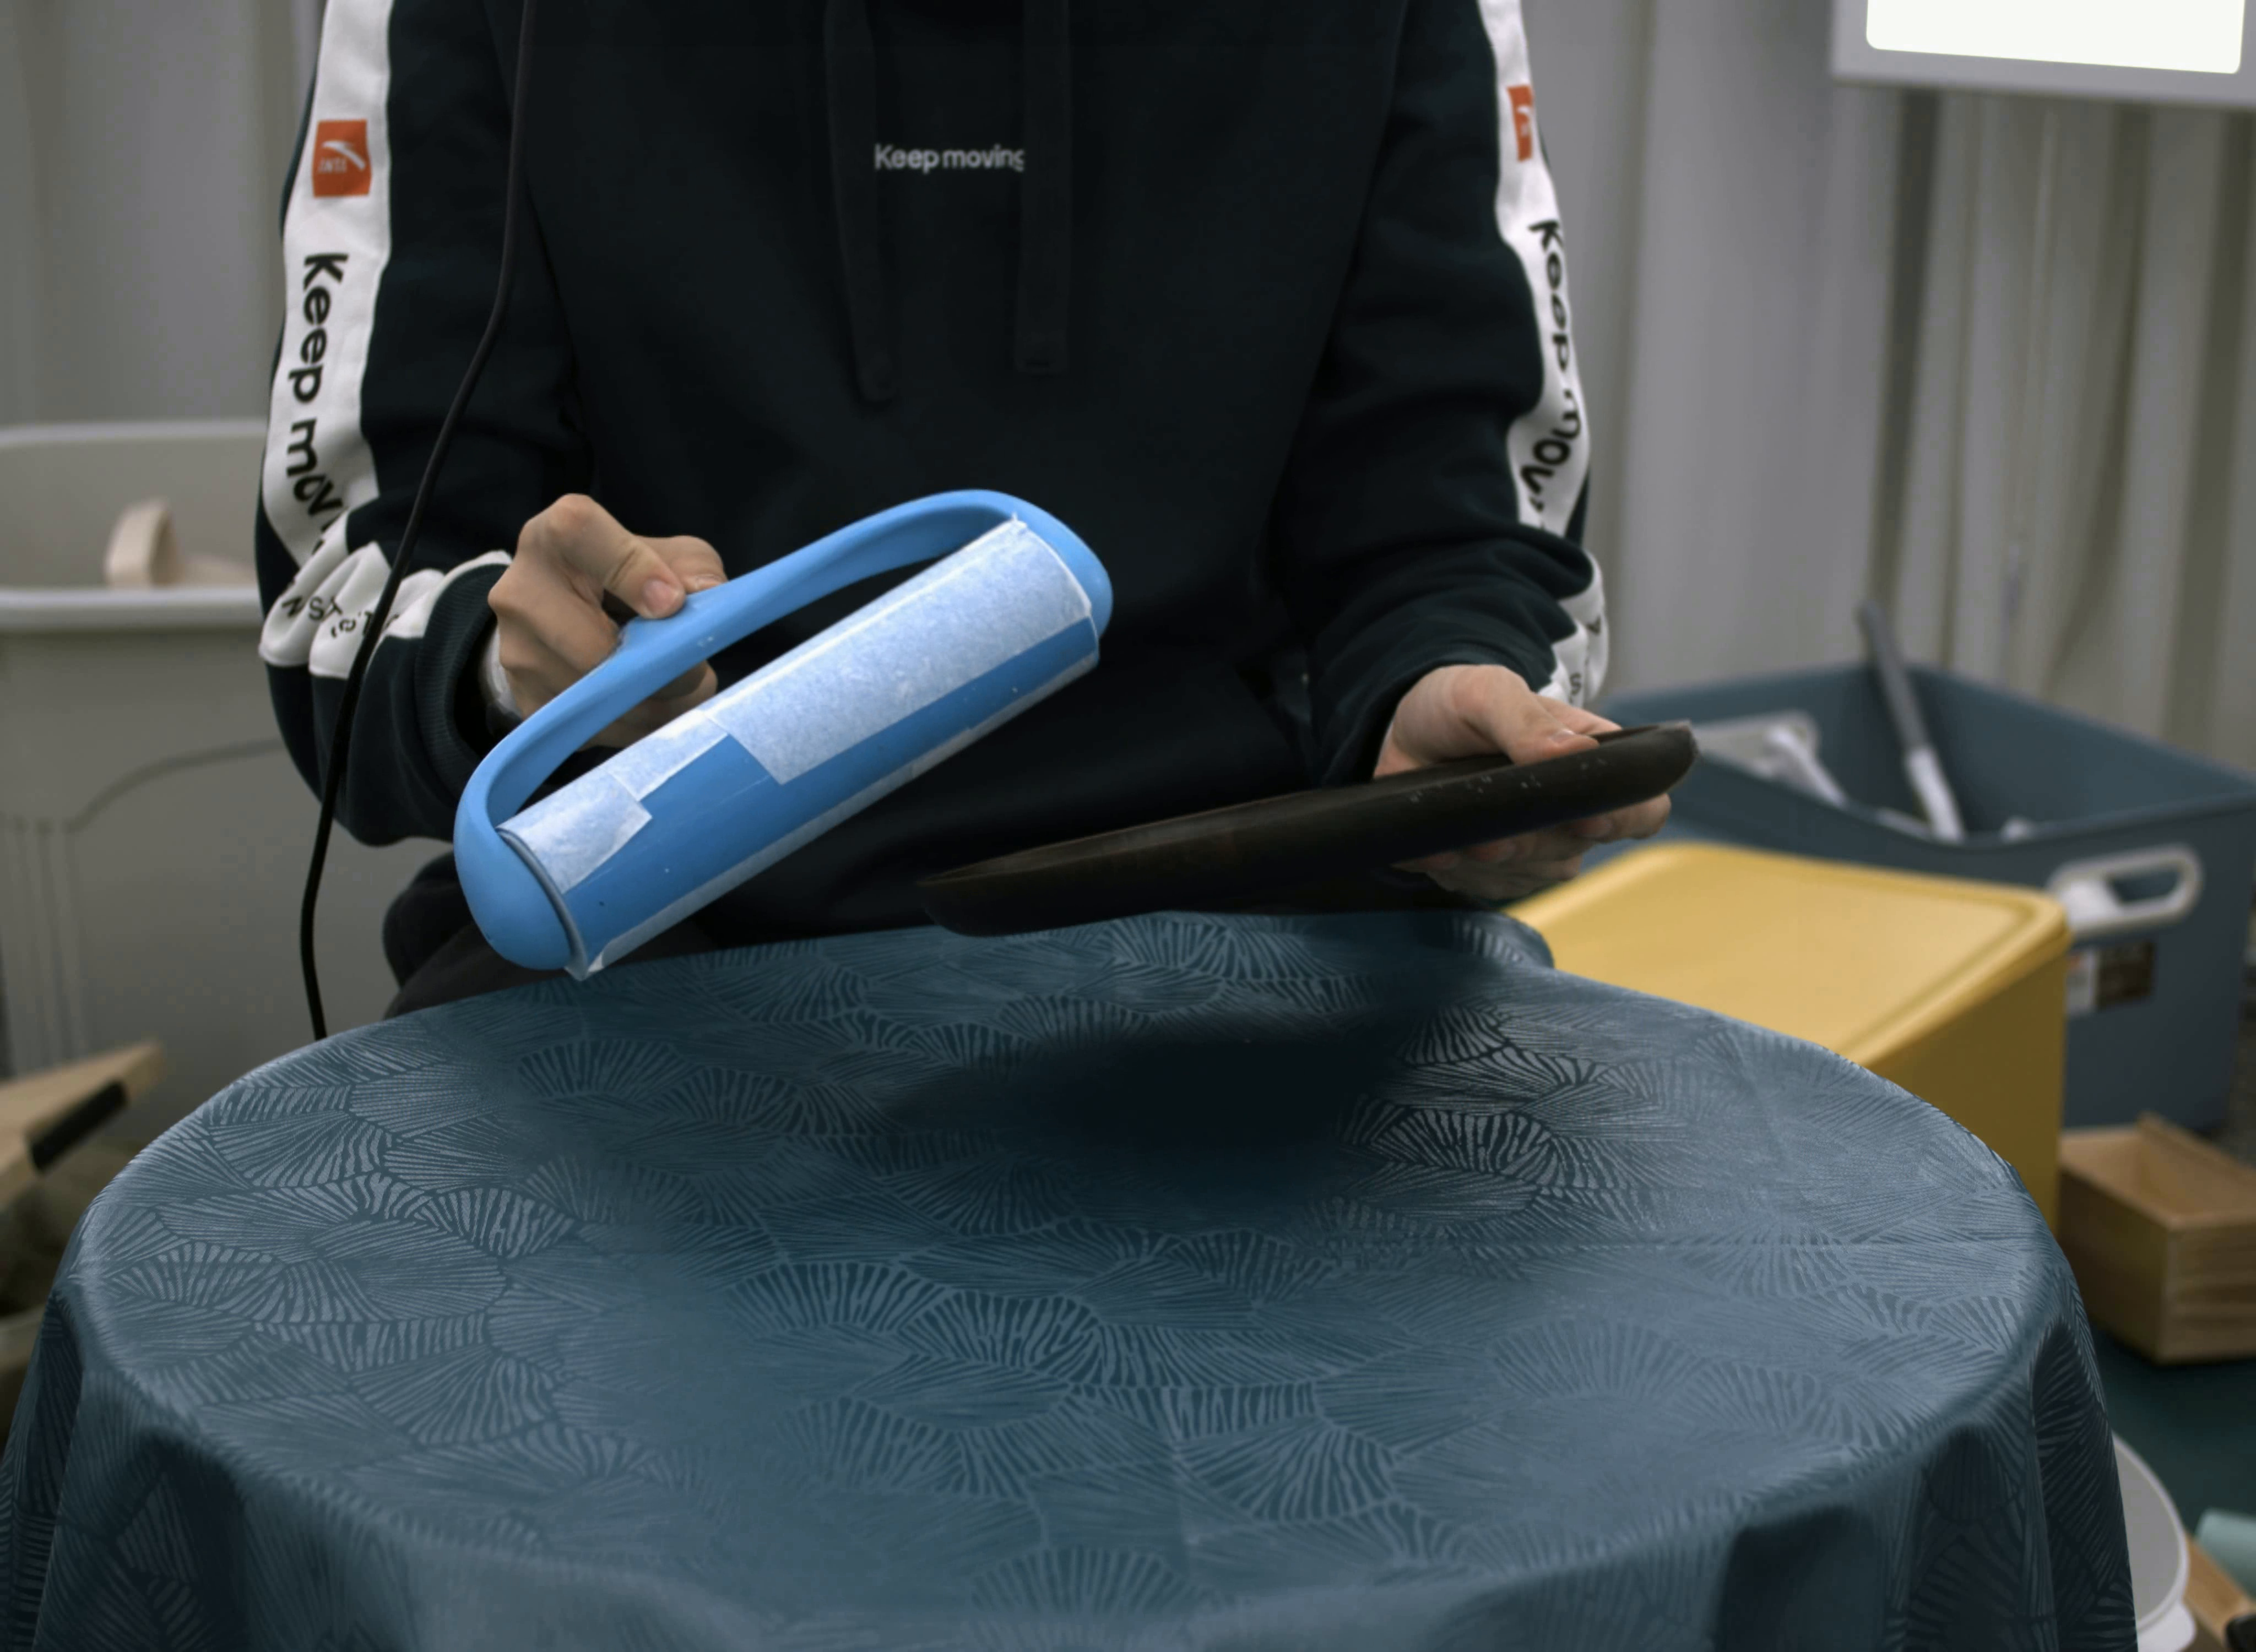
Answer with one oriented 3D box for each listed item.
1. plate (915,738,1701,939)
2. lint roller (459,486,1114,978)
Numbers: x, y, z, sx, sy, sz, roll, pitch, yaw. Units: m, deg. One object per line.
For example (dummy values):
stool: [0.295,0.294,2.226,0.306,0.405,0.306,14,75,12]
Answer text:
plate: [0.058,0.003,1.667,0.254,0.029,0.254,-10,2,1]
lint roller: [-0.132,-0.040,1.657,0.229,0.069,0.178,-35,30,-21]
